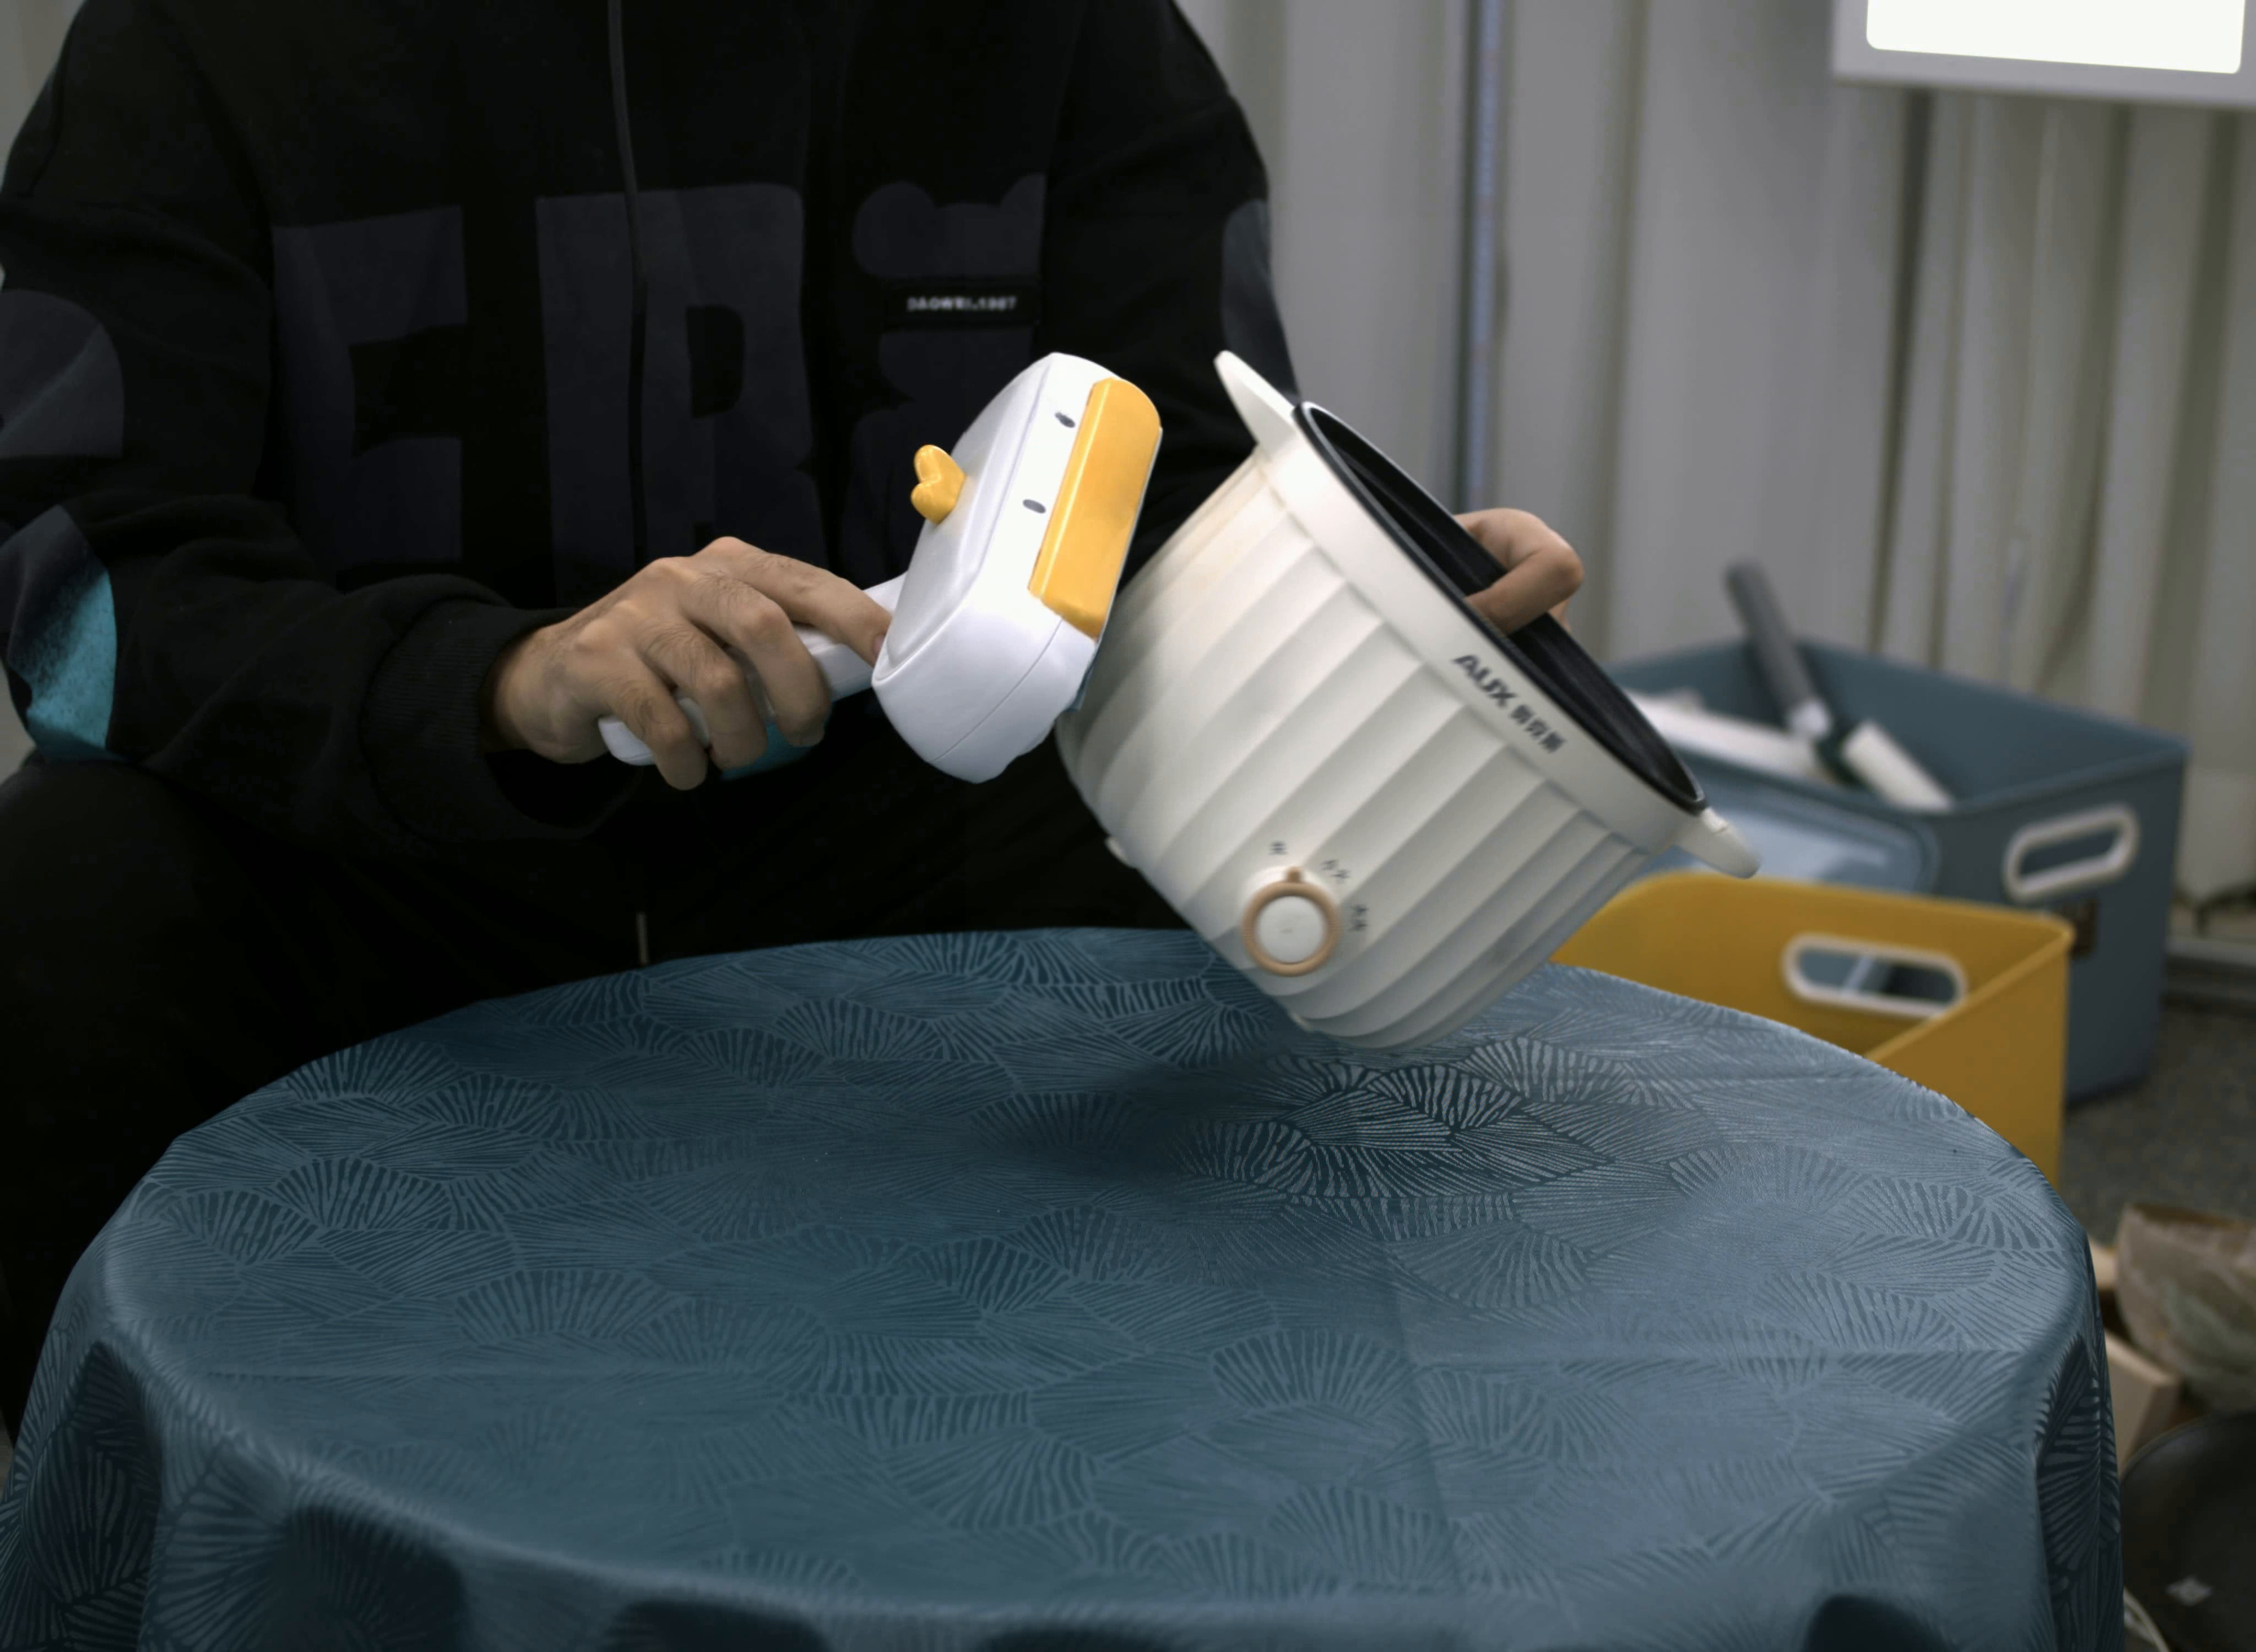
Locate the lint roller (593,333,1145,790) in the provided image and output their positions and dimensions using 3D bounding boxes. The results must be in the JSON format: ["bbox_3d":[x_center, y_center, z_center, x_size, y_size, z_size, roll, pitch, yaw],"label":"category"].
[{"bbox_3d":[-0.082,-0.061,1.656,0.192,0.075,0.191,-35,25,22],"label":"lint roller"}]

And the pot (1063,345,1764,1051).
[{"bbox_3d":[0.075,-0.022,1.652,0.242,0.142,0.189,42,6,-14],"label":"pot"}]
